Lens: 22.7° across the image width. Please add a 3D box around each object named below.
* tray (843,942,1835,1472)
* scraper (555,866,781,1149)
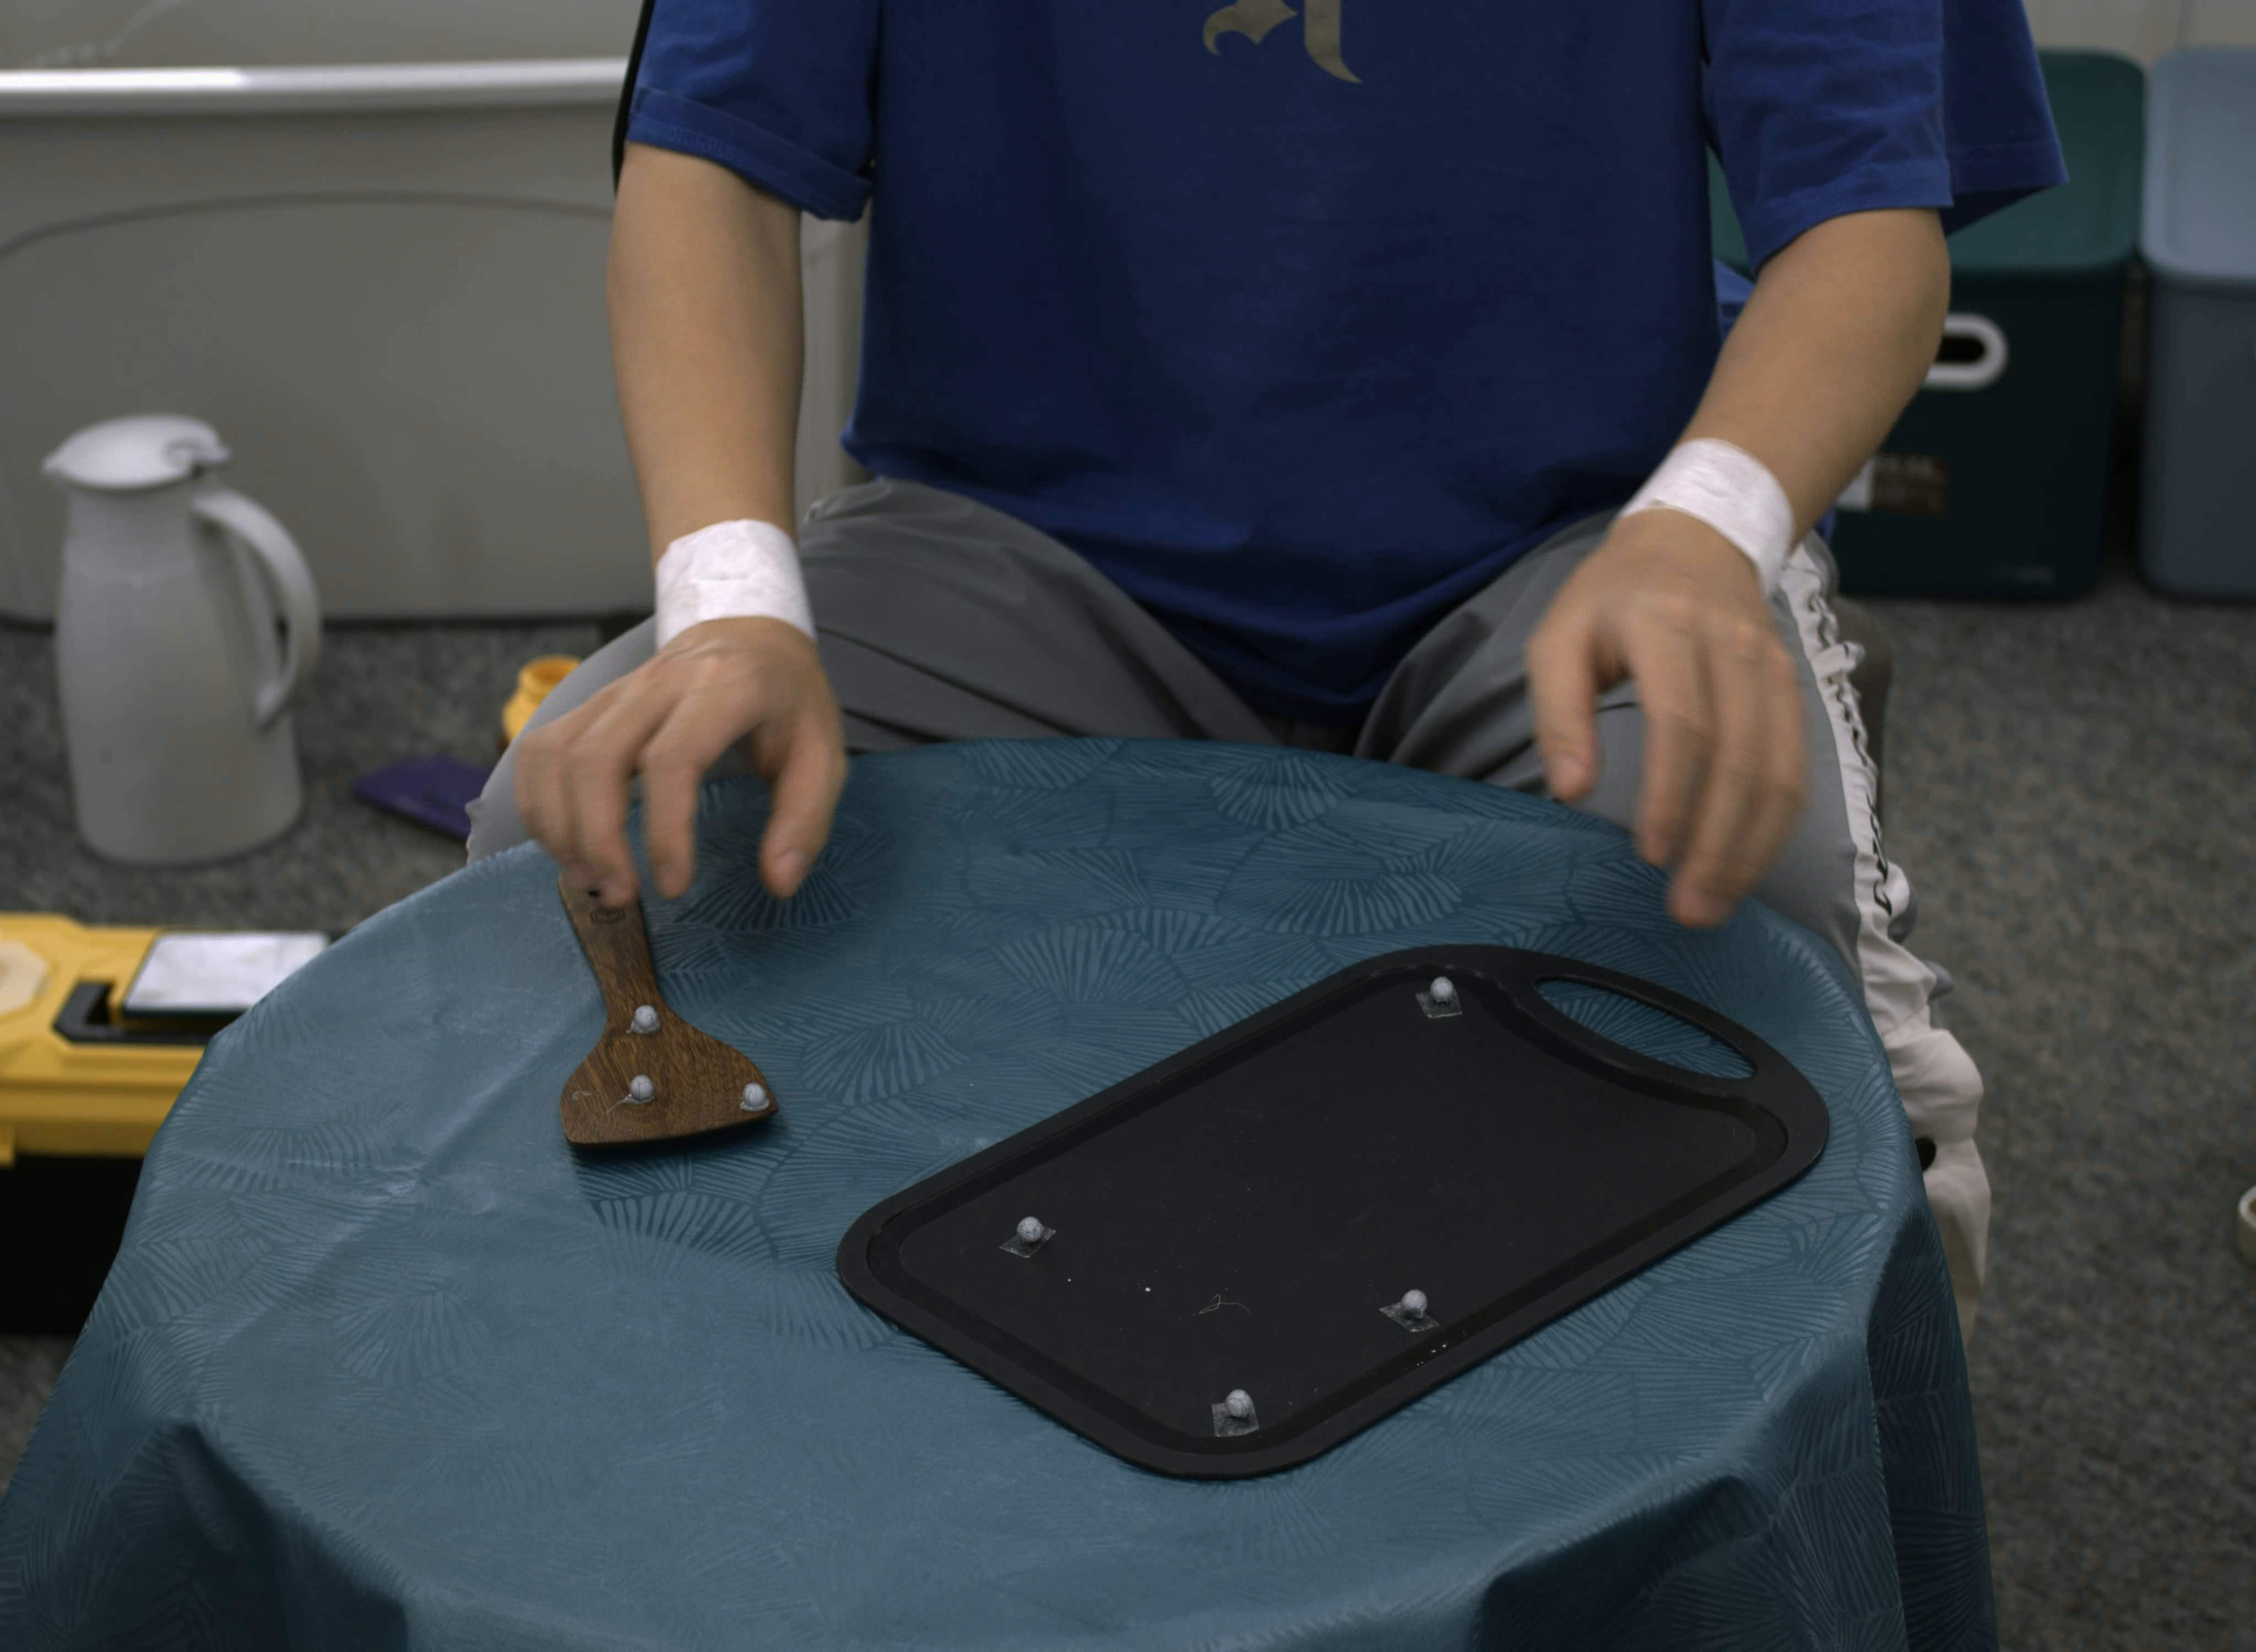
[{"bbox_3d":[0.076,0.115,1.858,0.329,0.009,0.211,-24,34,-35],"label":"tray"},{"bbox_3d":[-0.174,0.063,1.983,0.076,0.011,0.213,-8,27,-10],"label":"scraper"}]
